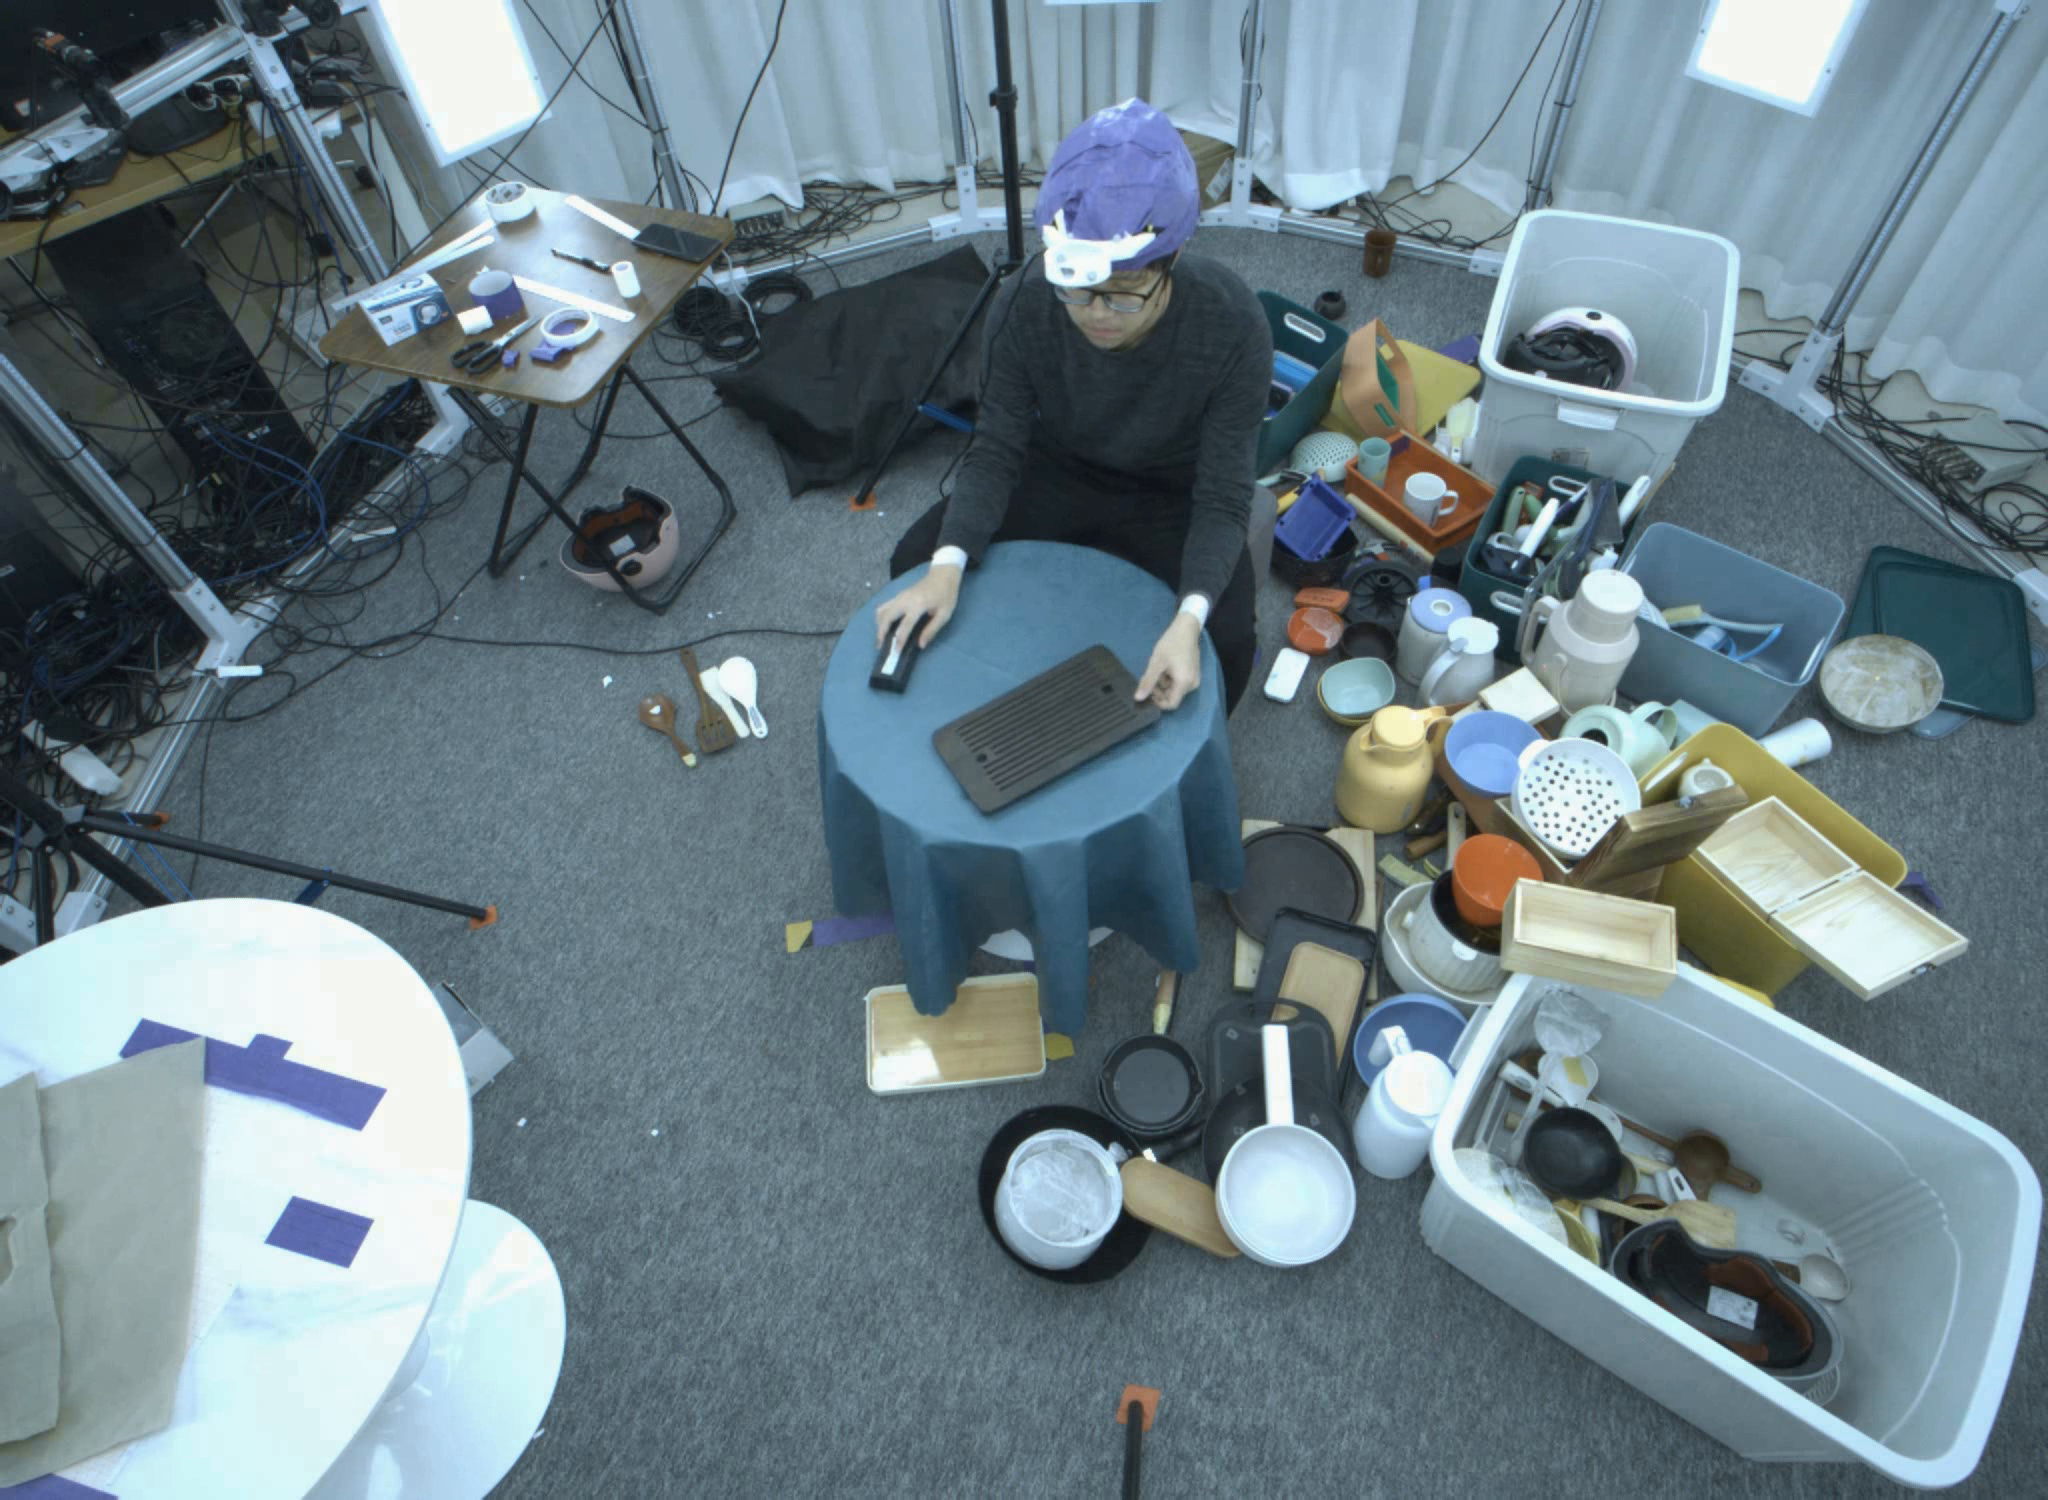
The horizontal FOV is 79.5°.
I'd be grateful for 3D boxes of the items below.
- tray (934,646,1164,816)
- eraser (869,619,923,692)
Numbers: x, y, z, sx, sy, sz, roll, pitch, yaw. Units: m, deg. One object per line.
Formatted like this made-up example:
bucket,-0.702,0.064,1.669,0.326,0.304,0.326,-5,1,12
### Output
tray,0.037,-0.031,1.792,0.308,0.019,0.167,-28,58,-15
eraser,-0.195,-0.146,1.880,0.053,0.031,0.125,10,55,7
